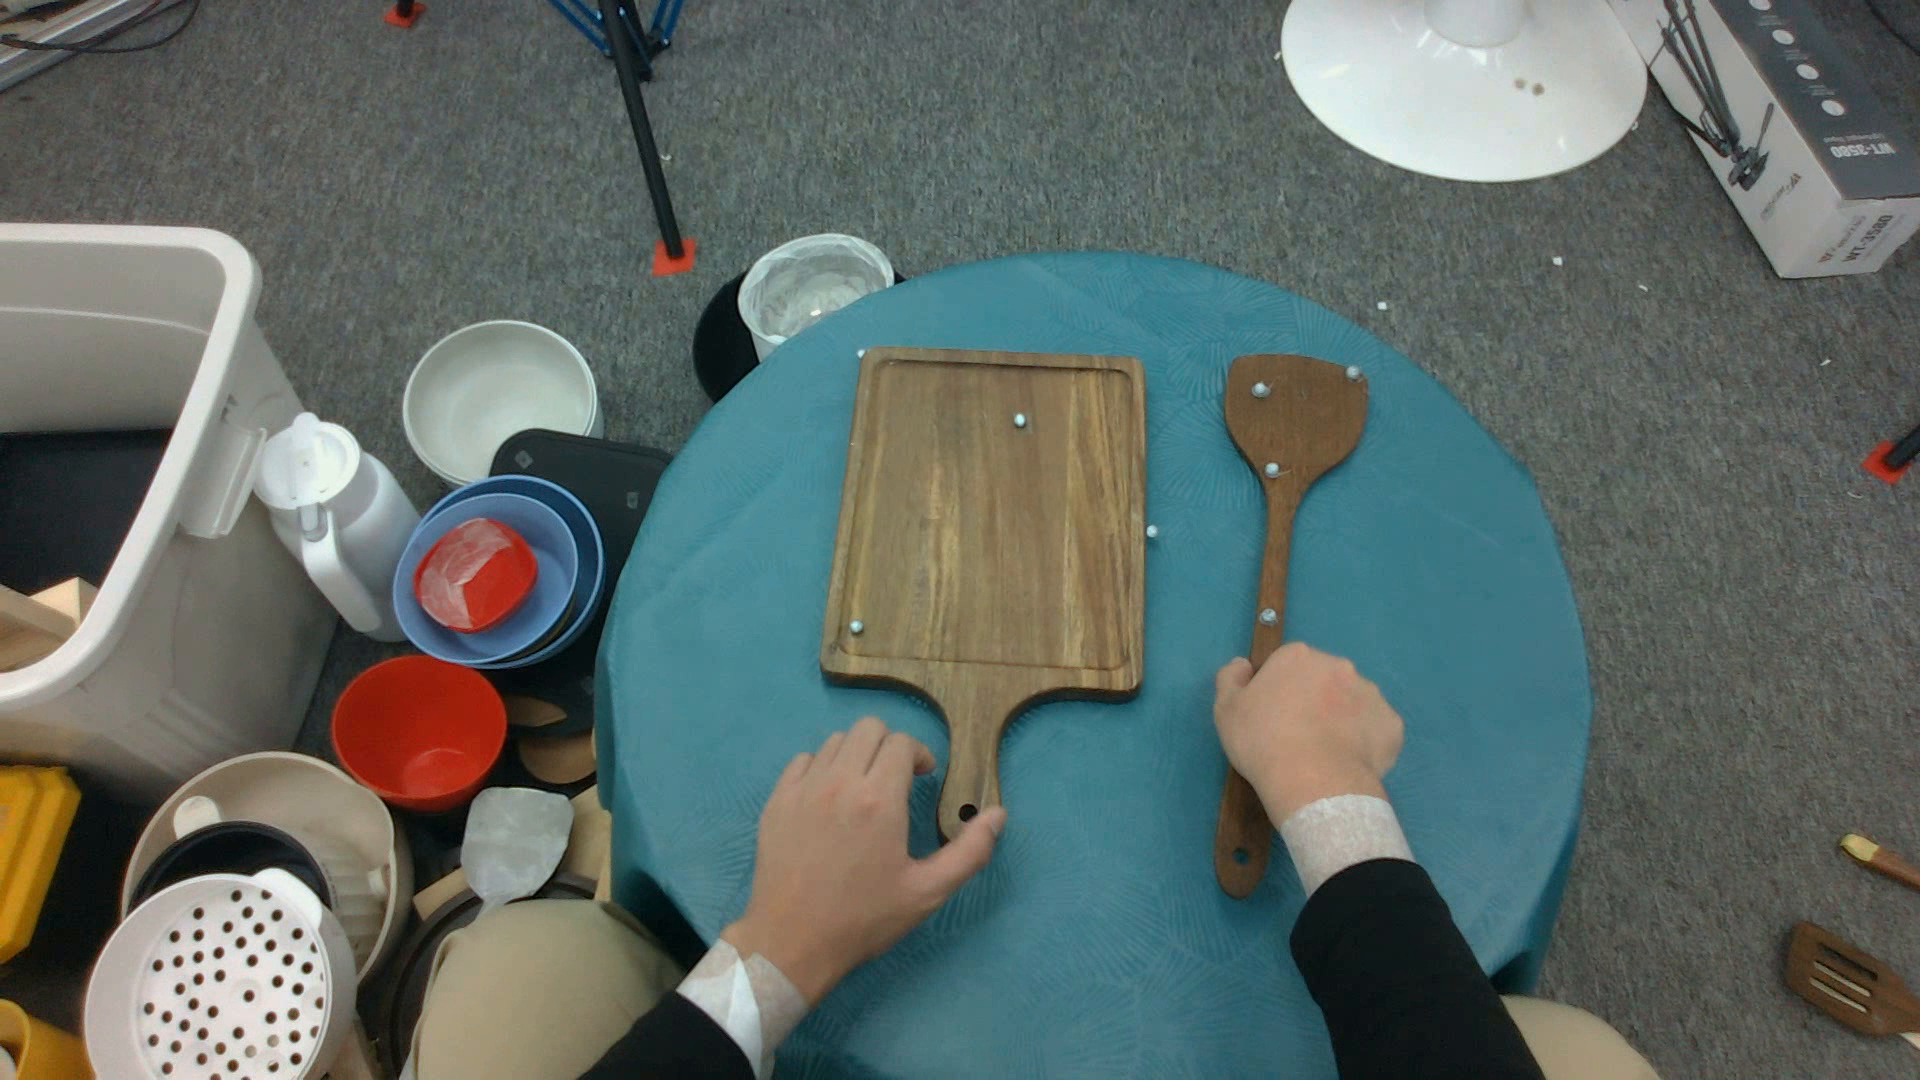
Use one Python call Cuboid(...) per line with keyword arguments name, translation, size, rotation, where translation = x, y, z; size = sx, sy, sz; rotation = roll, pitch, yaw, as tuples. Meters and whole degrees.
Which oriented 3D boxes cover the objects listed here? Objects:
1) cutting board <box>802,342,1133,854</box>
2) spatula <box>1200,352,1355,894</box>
Cuboid(name="cutting board", translation=(0.006, 0.021, 0.858), size=(0.201, 0.023, 0.353), rotation=(3, 59, 2))
Cuboid(name="spatula", translation=(0.183, 0.031, 0.846), size=(0.096, 0.016, 0.388), rotation=(10, 57, 8))
